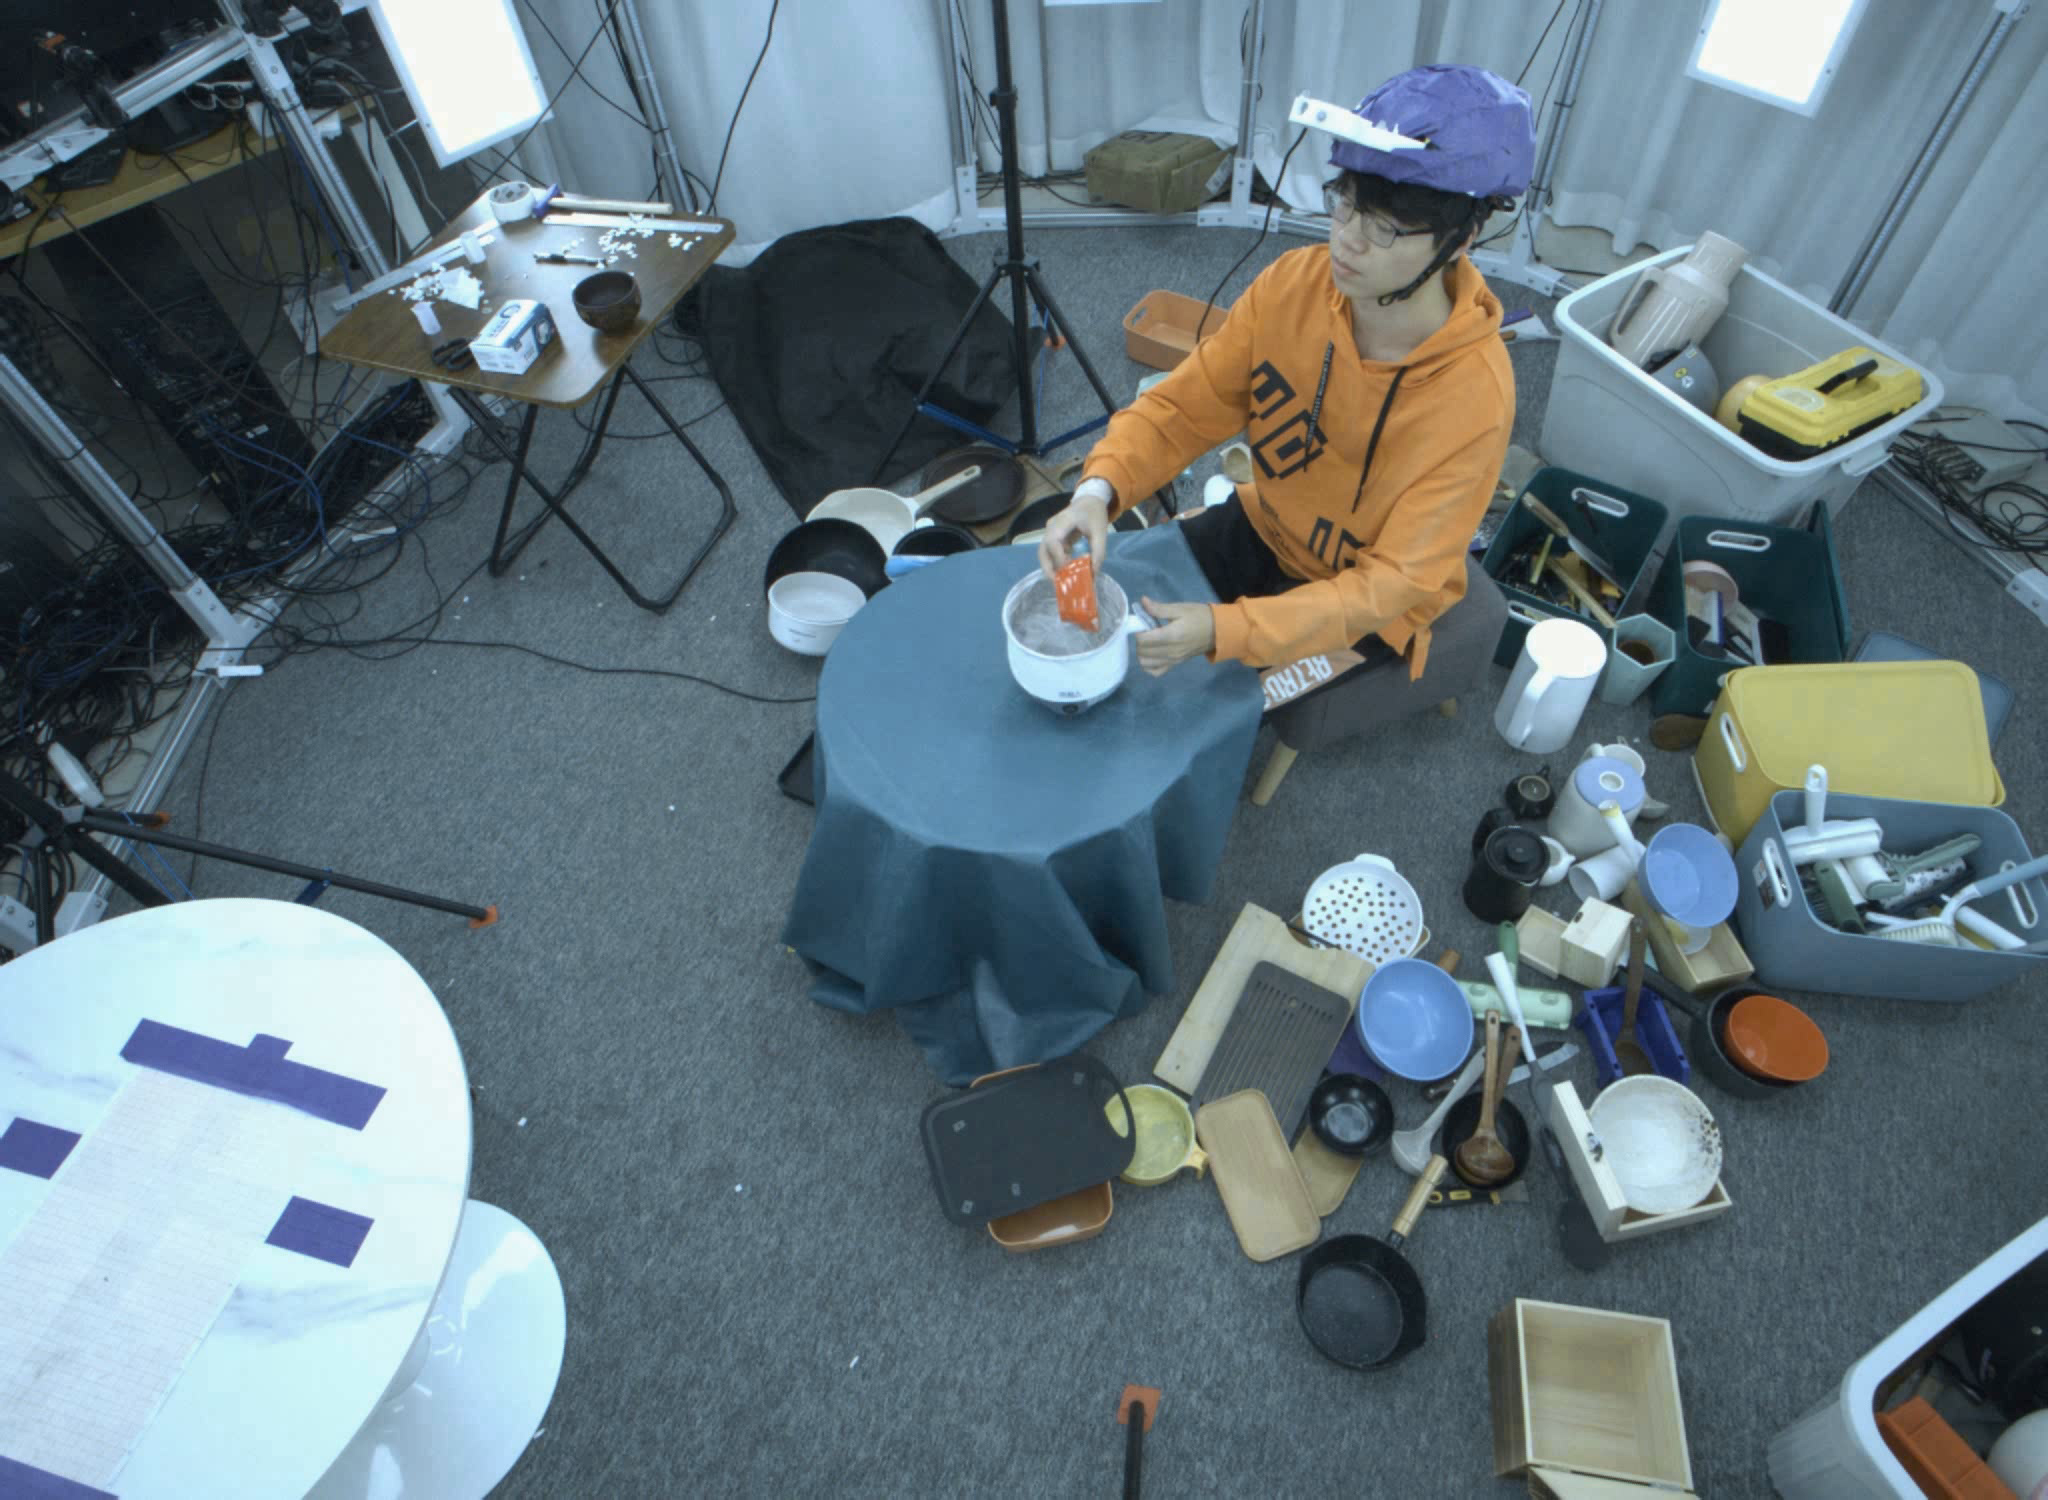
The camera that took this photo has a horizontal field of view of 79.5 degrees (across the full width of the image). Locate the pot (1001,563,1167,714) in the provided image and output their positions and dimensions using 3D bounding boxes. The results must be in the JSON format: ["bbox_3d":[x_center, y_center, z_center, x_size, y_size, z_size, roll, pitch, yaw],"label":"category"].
[{"bbox_3d":[0.089,-0.162,1.771,0.233,0.138,0.177,-4,57,2],"label":"pot"}]

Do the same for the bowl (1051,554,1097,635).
[{"bbox_3d":[0.068,-0.209,1.681,0.051,0.121,0.117,-7,55,7],"label":"bowl"}]
